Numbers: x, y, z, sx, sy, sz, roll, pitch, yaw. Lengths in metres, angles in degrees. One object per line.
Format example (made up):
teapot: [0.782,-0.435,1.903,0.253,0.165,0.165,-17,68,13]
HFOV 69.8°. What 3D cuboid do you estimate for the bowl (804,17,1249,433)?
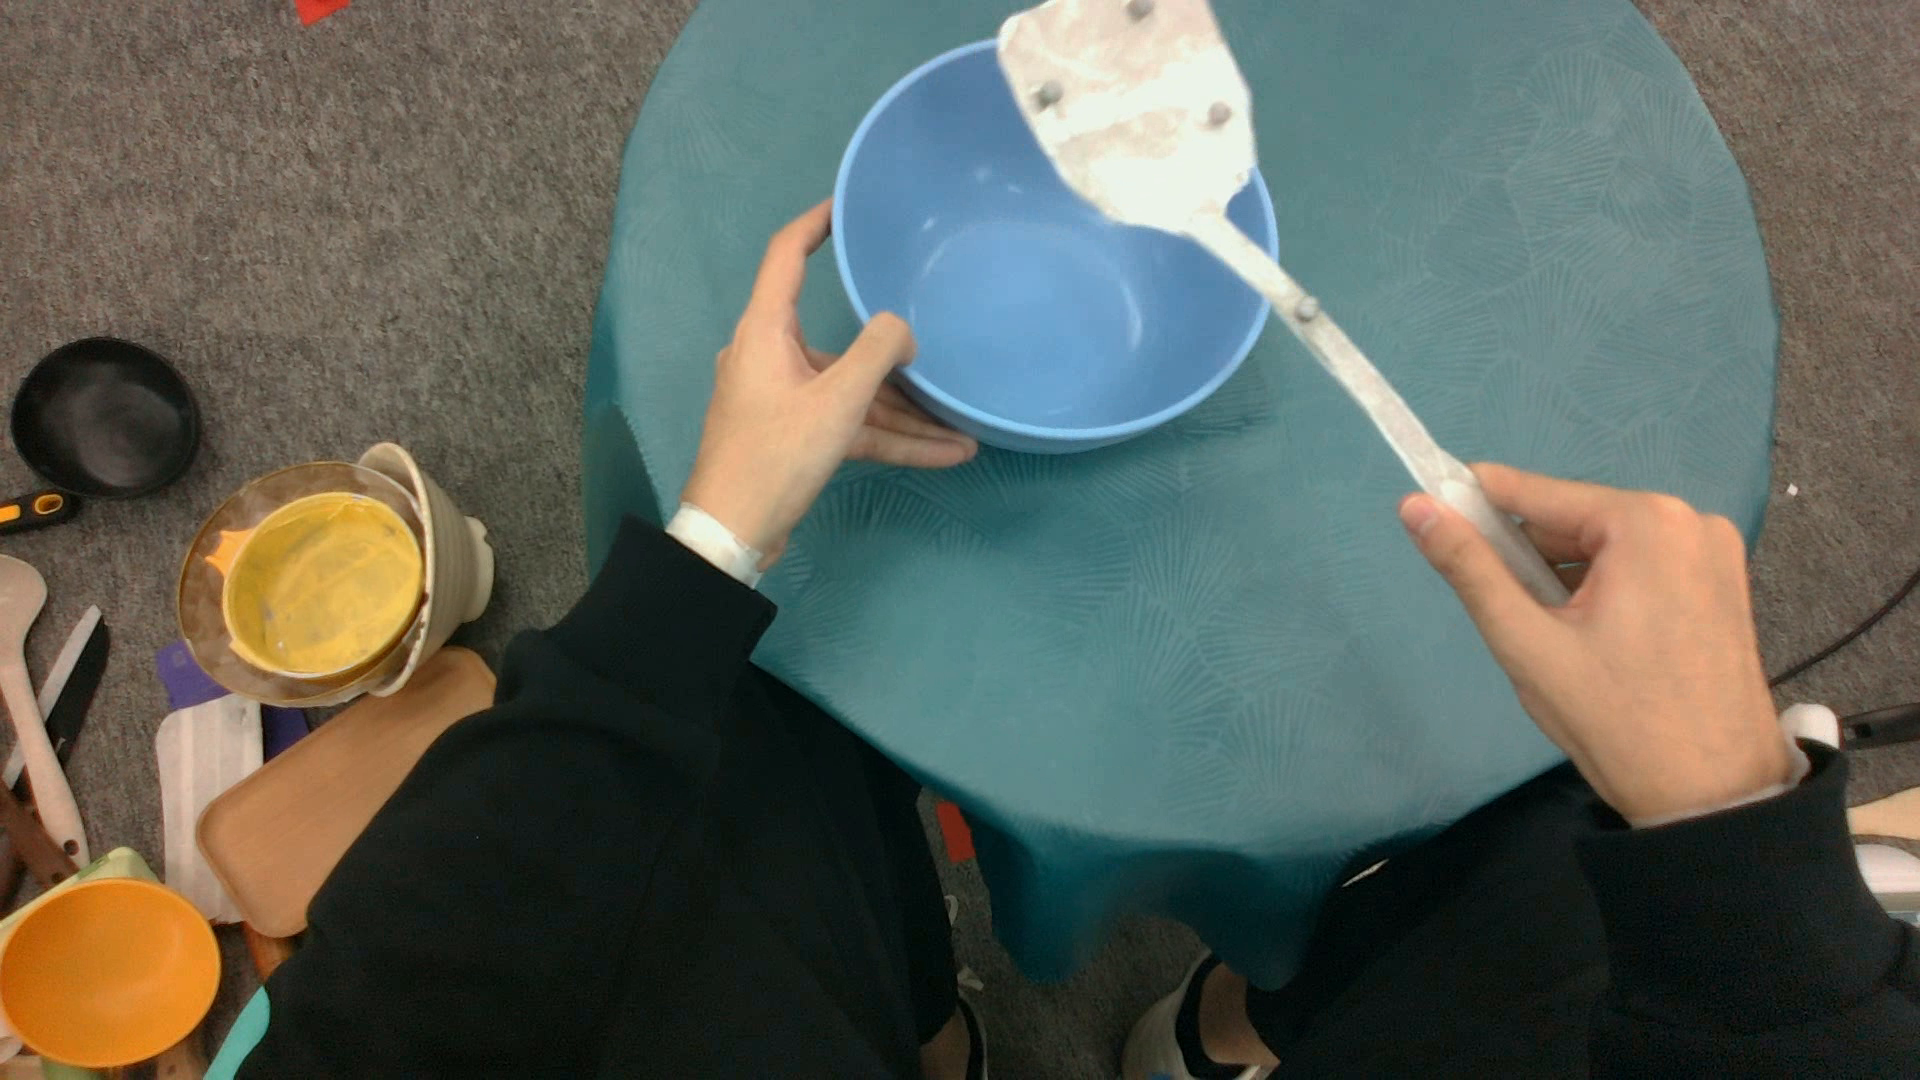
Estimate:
bowl: [0.025,-0.130,0.638,0.196,0.095,0.197,3,71,-8]

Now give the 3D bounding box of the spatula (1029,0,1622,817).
spatula: [0.137,-0.074,0.491,0.099,0.044,0.365,-20,67,-23]
